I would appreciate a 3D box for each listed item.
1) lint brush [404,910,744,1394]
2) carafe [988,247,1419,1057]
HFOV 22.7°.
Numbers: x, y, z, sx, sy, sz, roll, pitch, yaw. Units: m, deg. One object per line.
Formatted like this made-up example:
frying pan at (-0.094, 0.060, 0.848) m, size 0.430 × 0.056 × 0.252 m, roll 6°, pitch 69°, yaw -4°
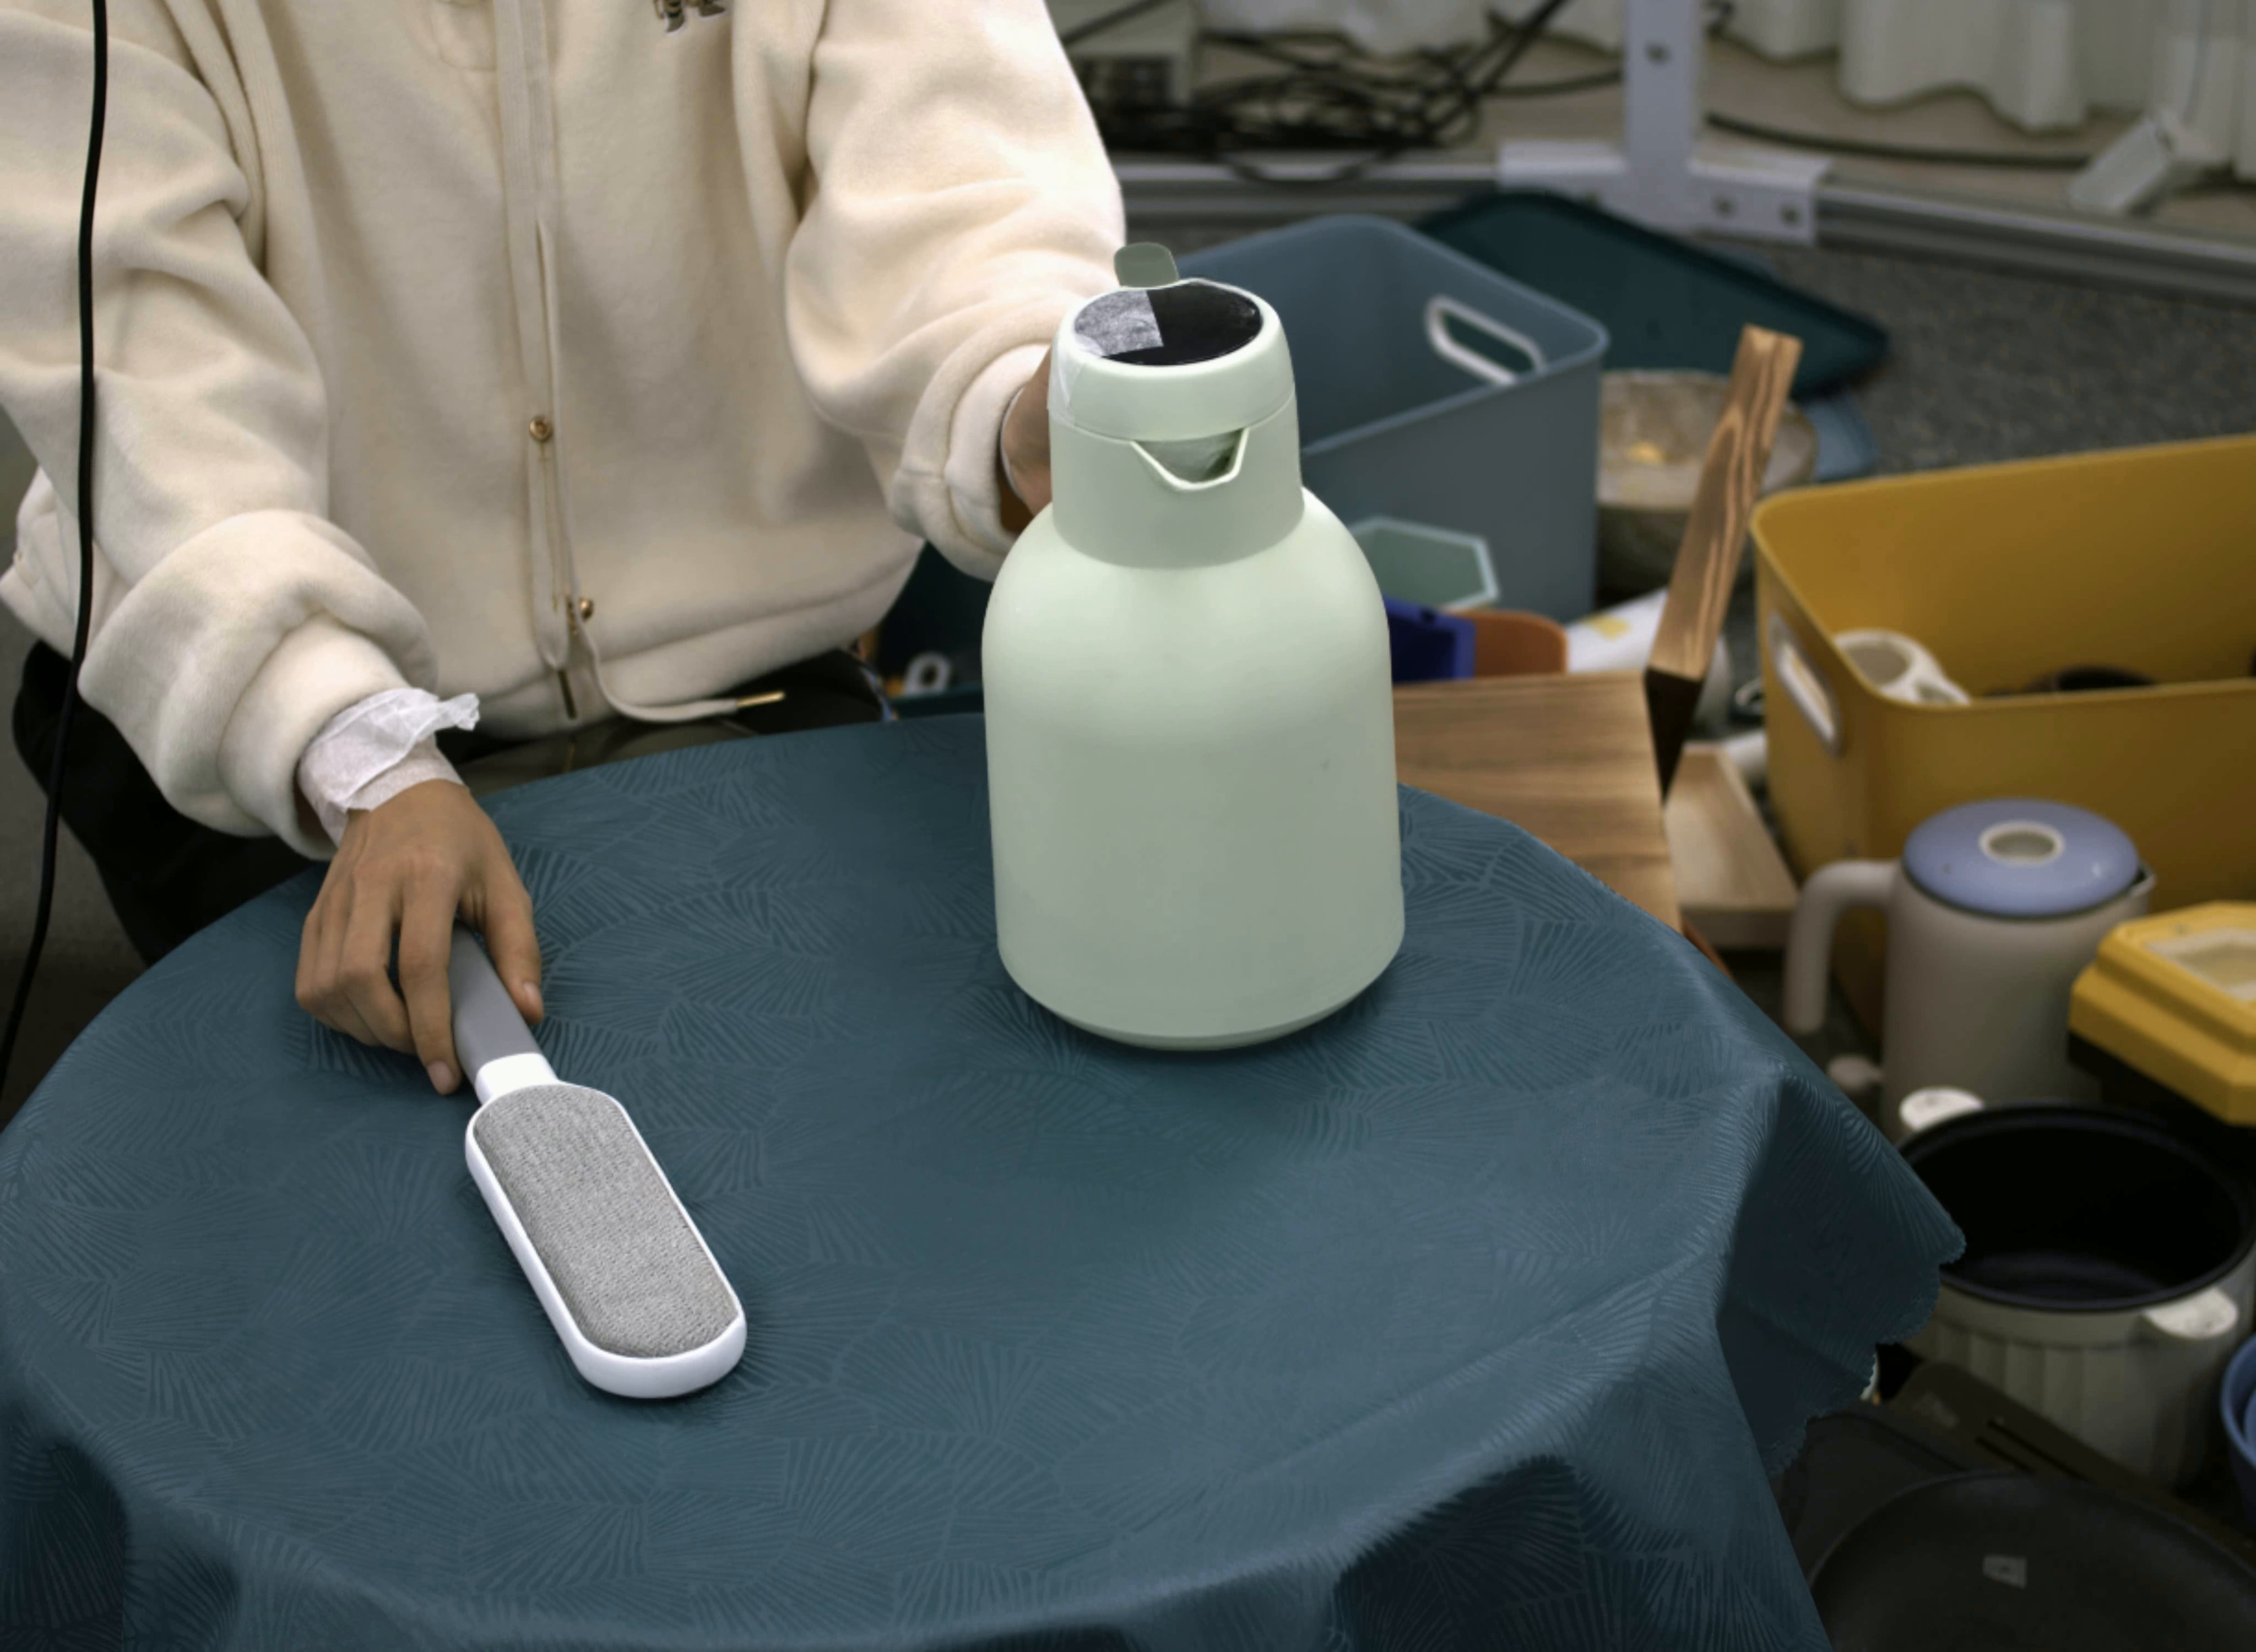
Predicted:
lint brush at (-0.193, 0.104, 1.881) m, size 0.060 × 0.020 × 0.311 m, roll -13°, pitch 30°, yaw -17°
carafe at (0.020, -0.065, 1.948) m, size 0.144 × 0.254 × 0.189 m, roll -8°, pitch 25°, yaw -5°
